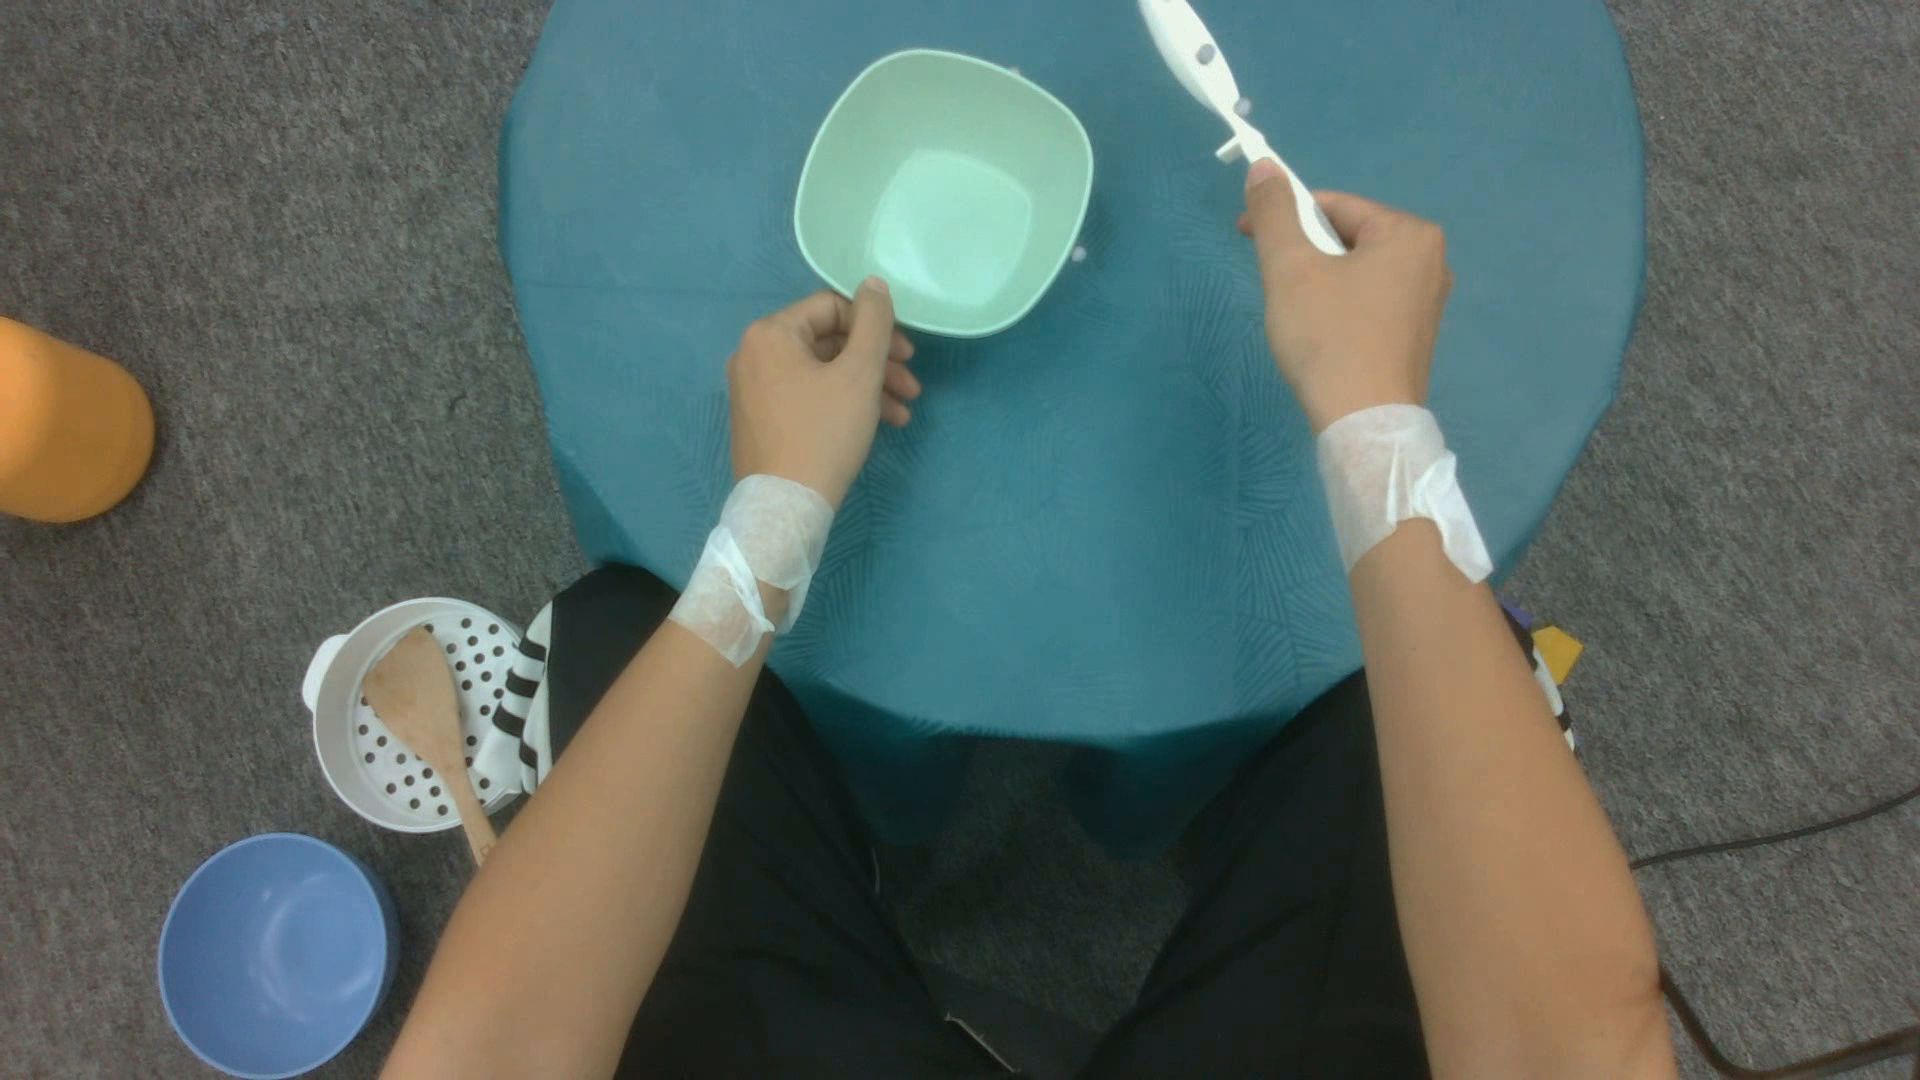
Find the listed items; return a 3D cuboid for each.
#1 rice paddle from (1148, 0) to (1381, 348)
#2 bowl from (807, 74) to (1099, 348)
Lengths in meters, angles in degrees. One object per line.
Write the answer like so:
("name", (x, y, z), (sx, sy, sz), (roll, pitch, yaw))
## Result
("rice paddle", (0.135, -0.182, 0.638), (0.029, 0.069, 0.205), (-32, 69, 26))
("bowl", (-0.002, -0.161, 0.714), (0.151, 0.058, 0.152), (0, 78, 2))
